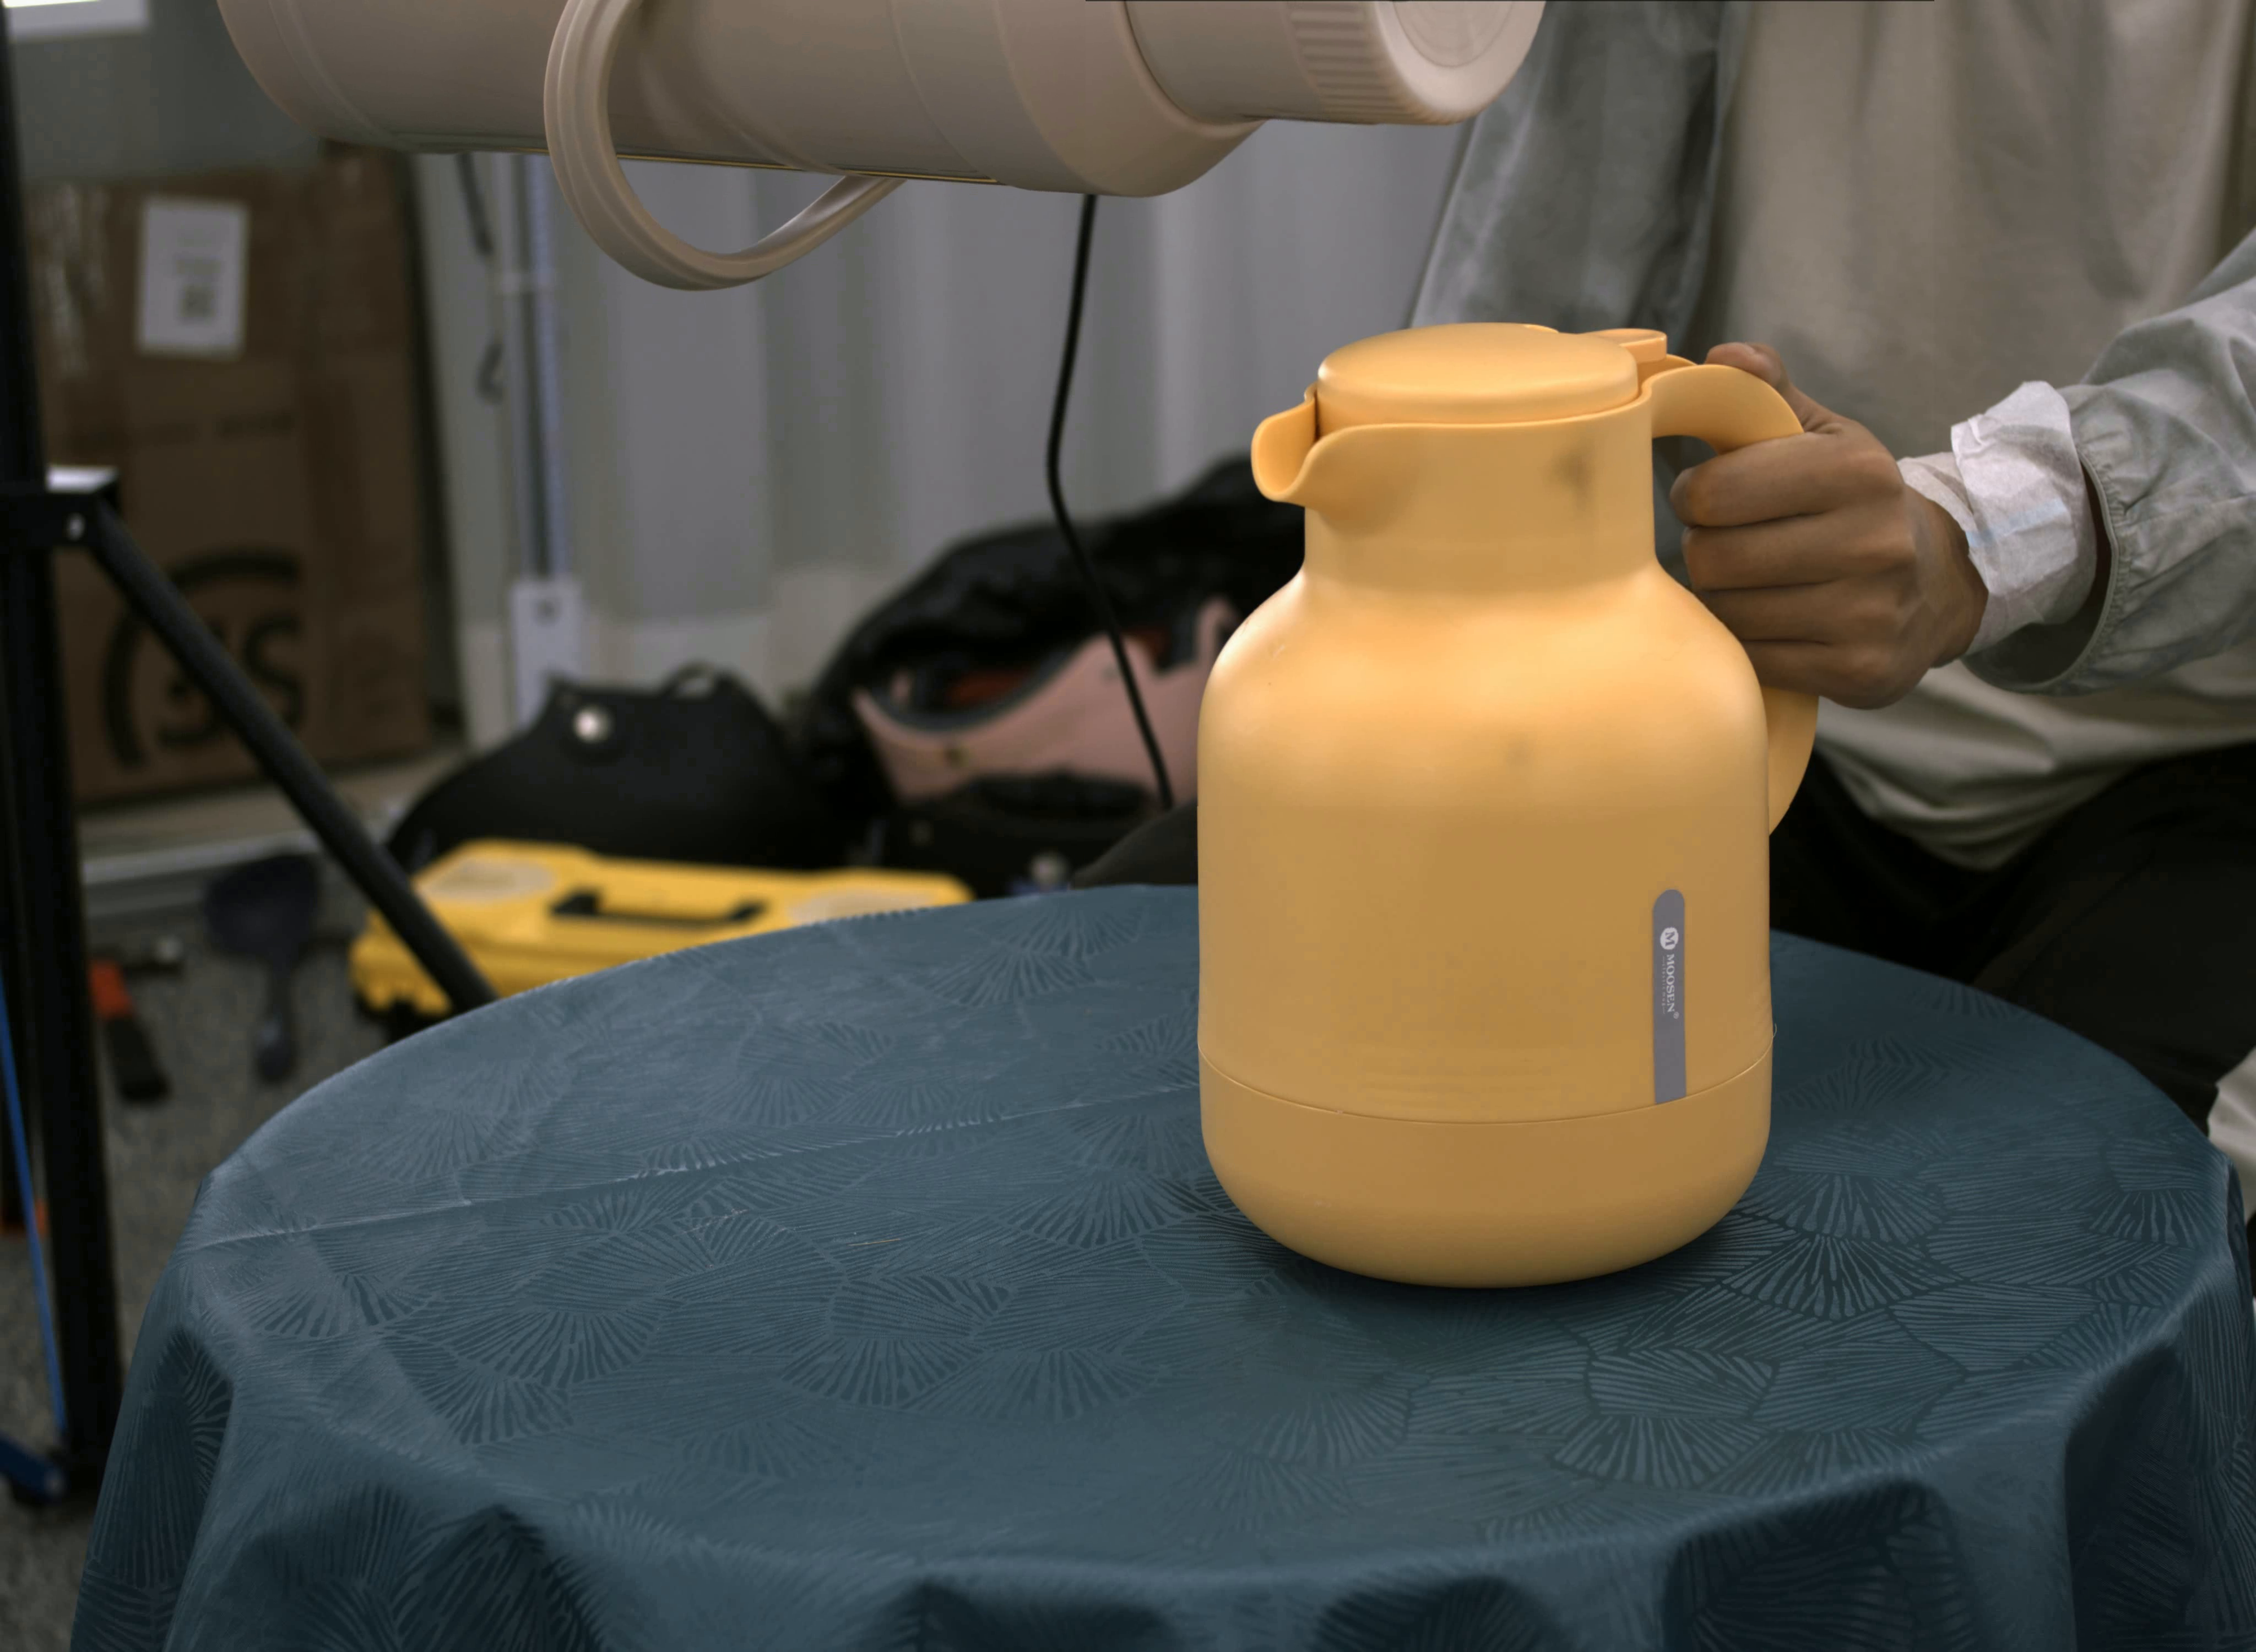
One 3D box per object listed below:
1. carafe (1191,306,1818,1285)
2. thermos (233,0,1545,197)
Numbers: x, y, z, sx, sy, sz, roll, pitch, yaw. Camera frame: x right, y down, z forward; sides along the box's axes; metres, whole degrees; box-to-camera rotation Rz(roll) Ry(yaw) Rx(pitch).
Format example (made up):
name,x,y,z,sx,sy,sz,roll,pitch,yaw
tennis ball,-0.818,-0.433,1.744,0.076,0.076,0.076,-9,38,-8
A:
name,x,y,z,sx,sy,sz,roll,pitch,yaw
carafe,0.115,-0.015,1.494,0.198,0.260,0.167,-13,21,-32
thermos,-0.068,-0.283,1.569,0.415,0.208,0.171,8,-9,37
